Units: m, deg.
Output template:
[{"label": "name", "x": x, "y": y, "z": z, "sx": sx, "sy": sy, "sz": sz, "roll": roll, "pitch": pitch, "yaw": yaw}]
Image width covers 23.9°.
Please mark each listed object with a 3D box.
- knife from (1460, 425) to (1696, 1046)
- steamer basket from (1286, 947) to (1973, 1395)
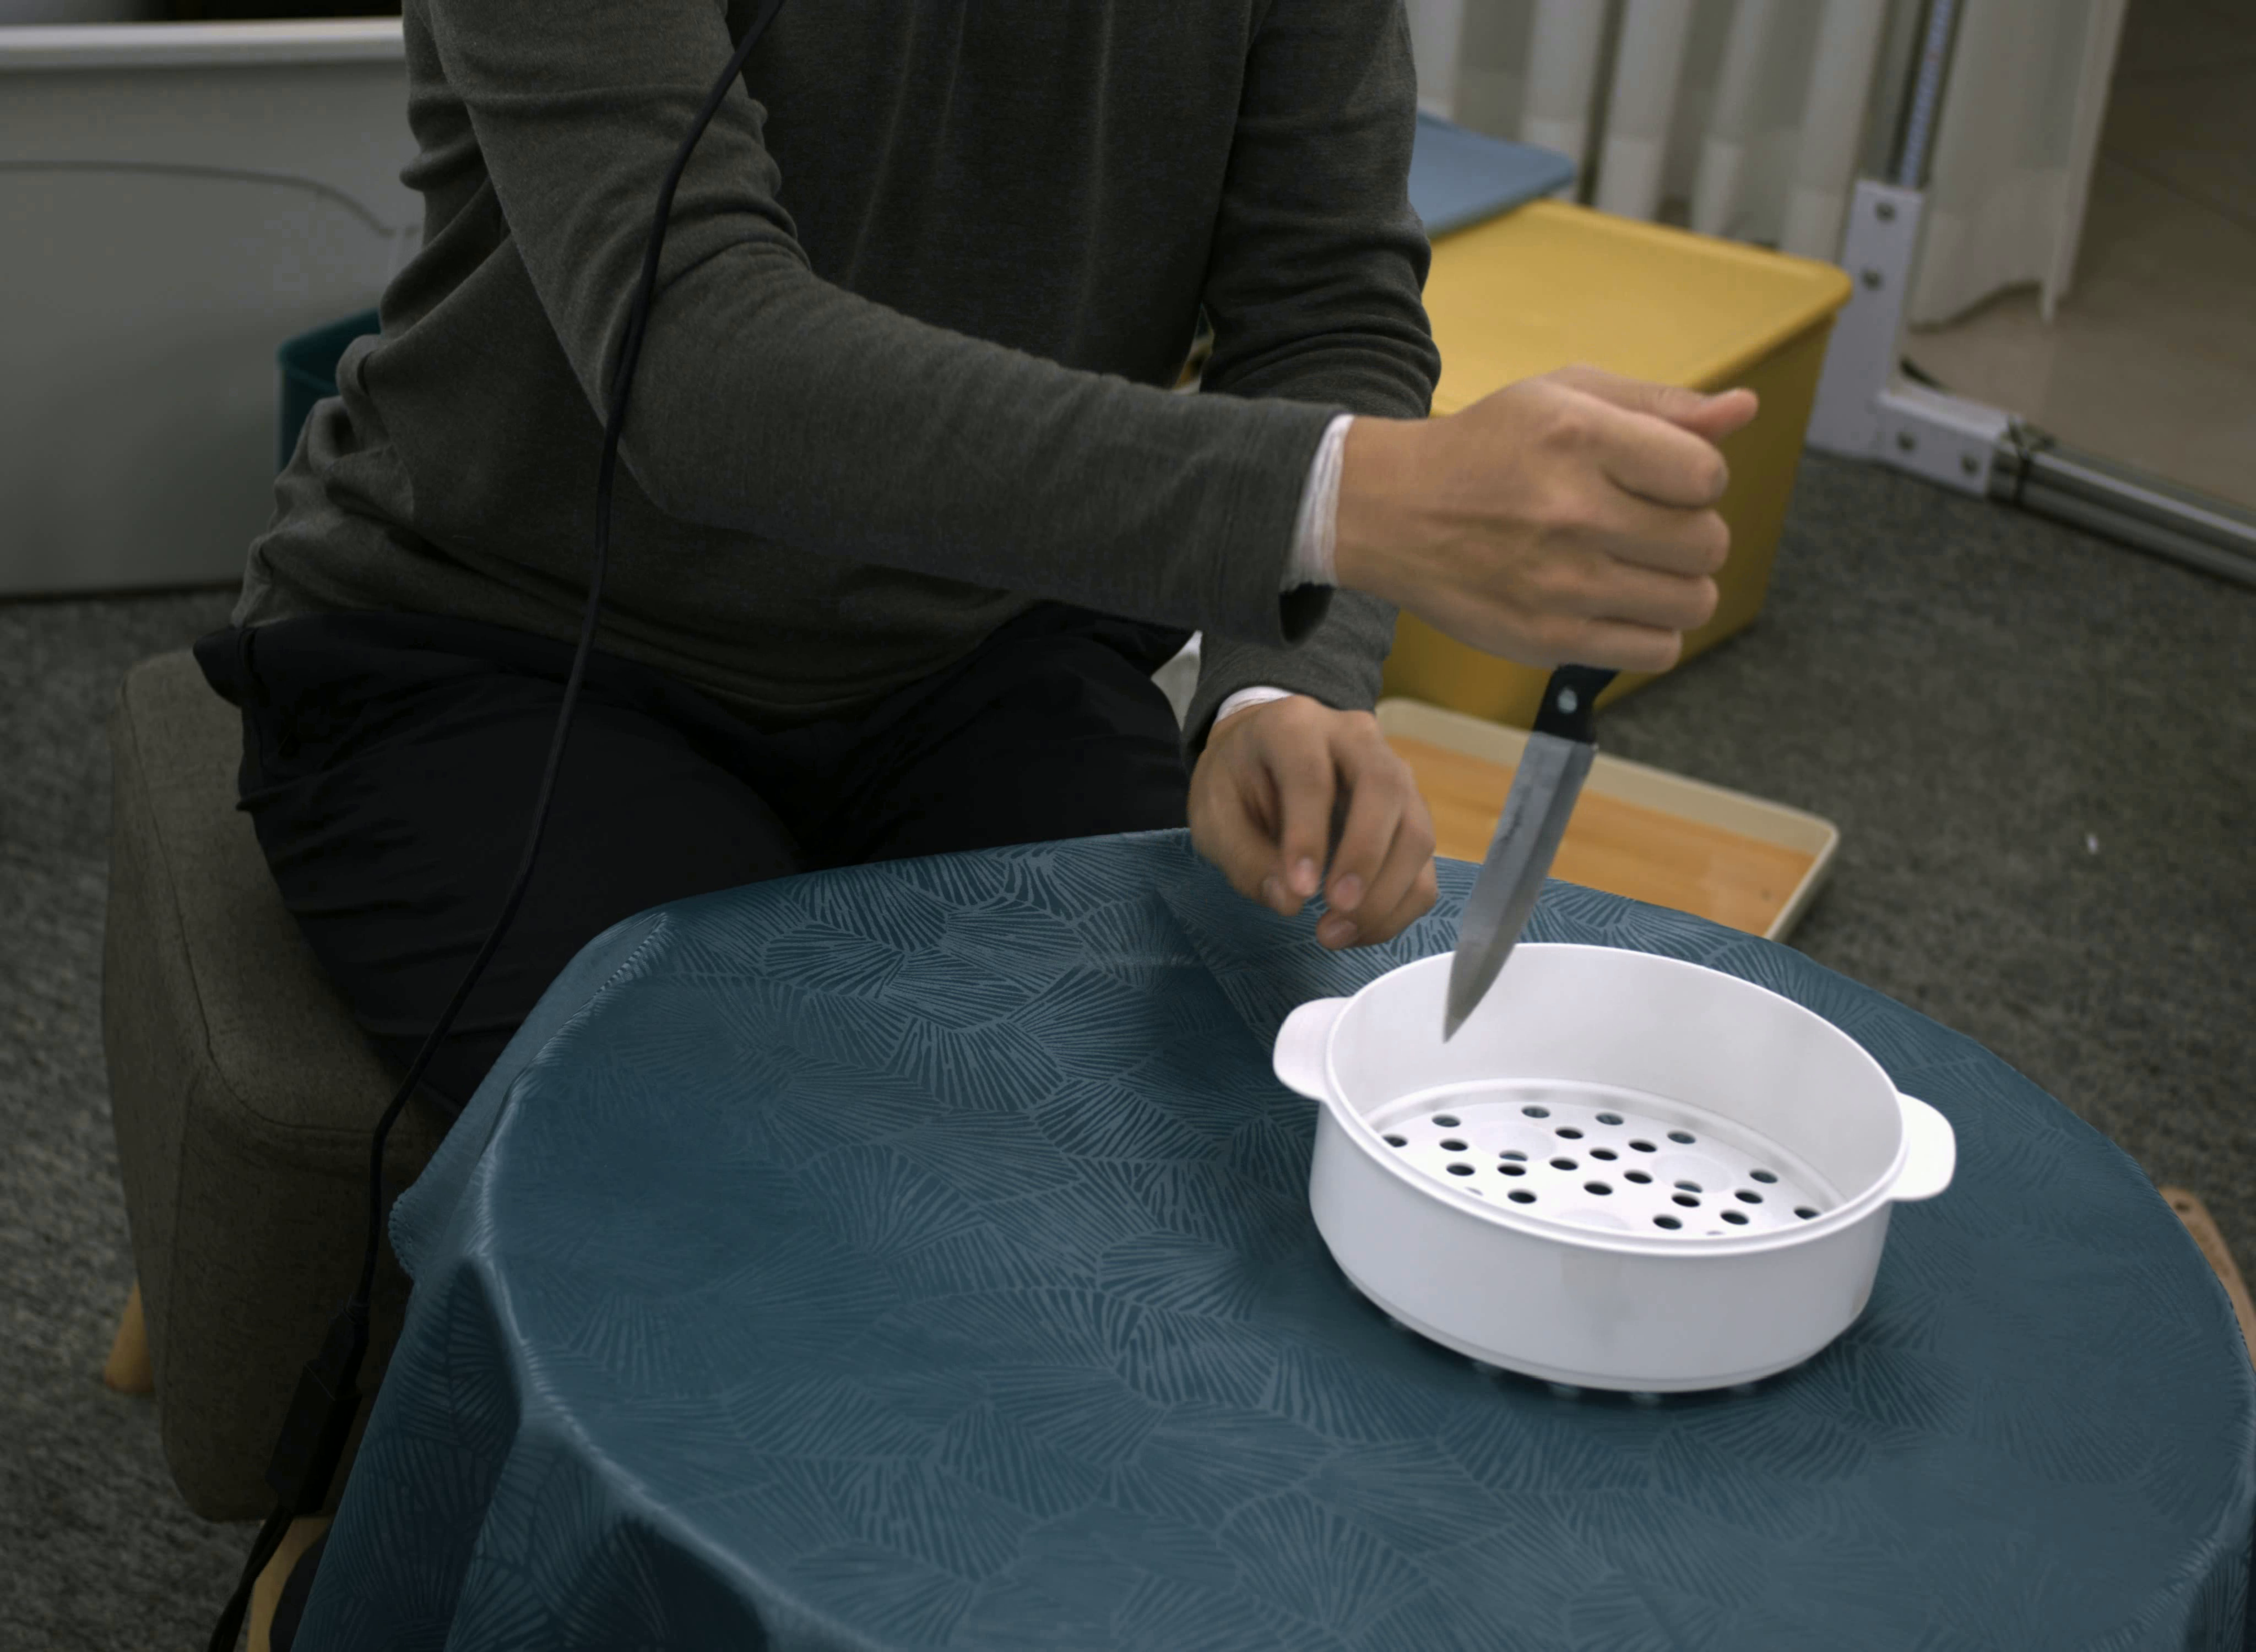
[{"label": "knife", "x": 0.138, "y": -0.027, "z": 1.711, "sx": 0.024, "sy": 0.237, "sz": 0.016, "roll": 24, "pitch": 31, "yaw": 12}, {"label": "steamer basket", "x": 0.164, "y": 0.115, "z": 1.784, "sx": 0.230, "sy": 0.069, "sz": 0.202, "roll": 9, "pitch": 26, "yaw": 7}]
